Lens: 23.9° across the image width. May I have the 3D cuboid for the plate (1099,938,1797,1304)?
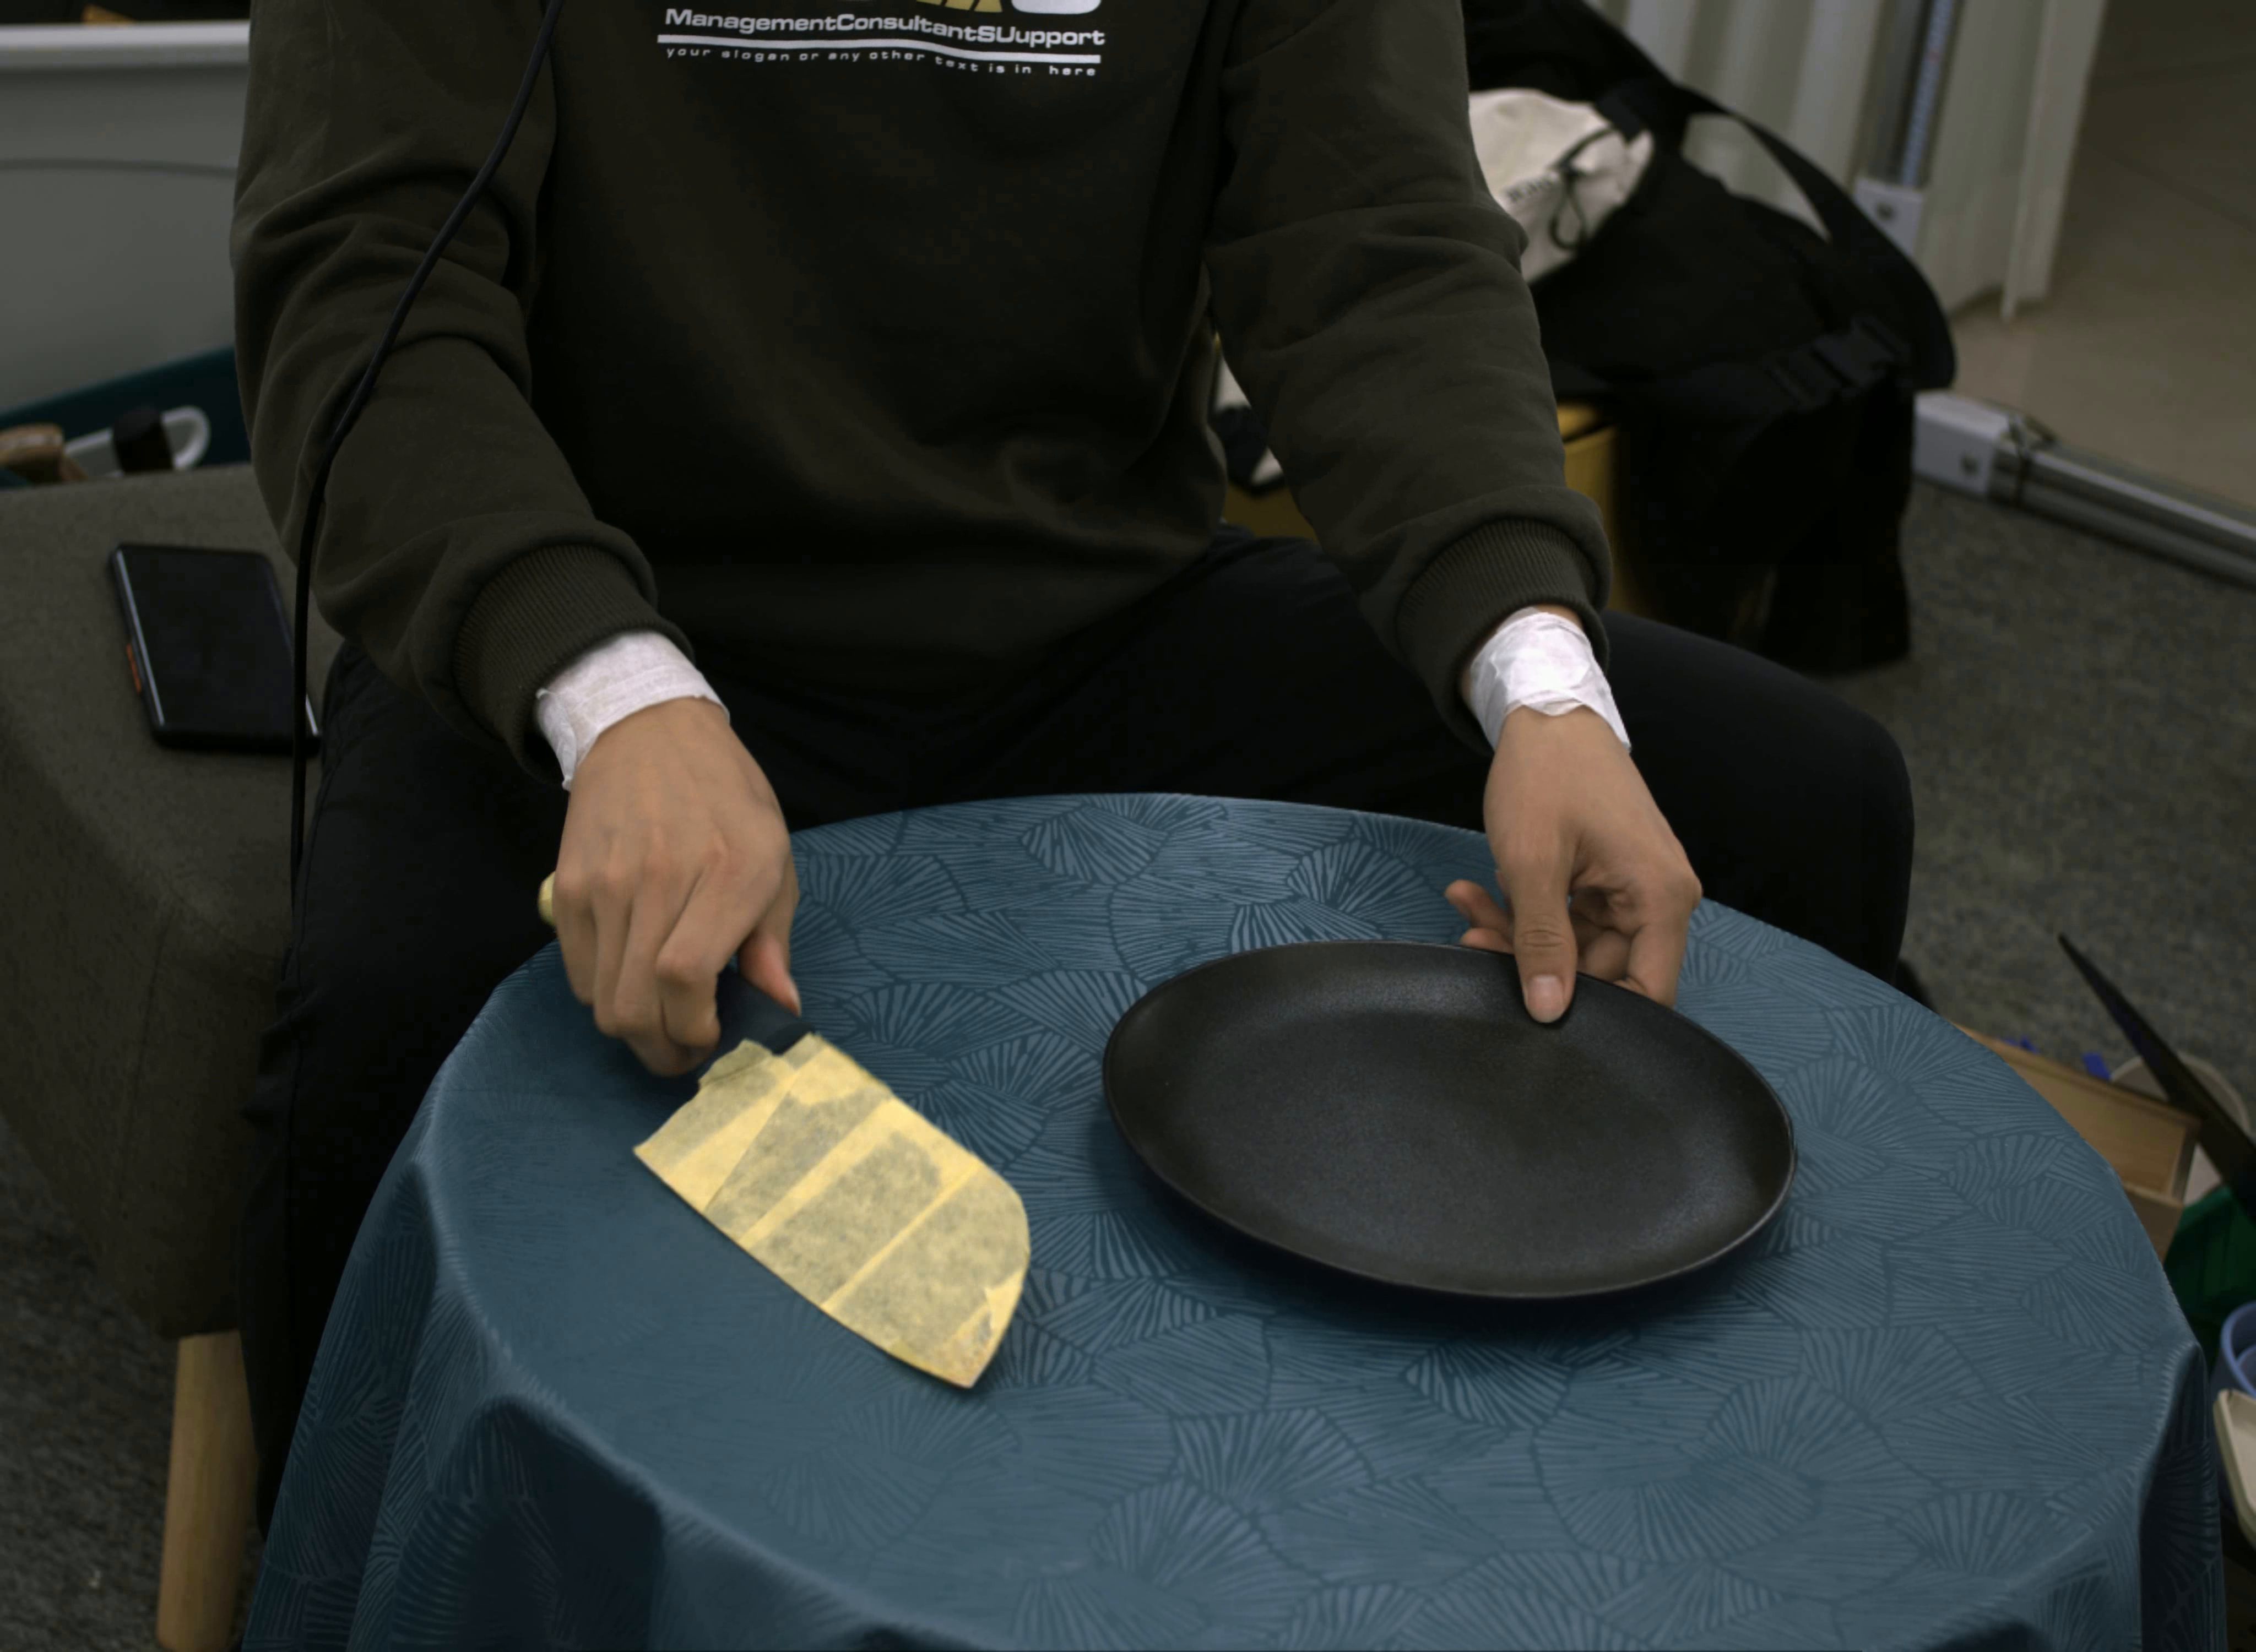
[{"bbox_3d":[0.109,0.106,1.840,0.243,0.023,0.246,5,27,-3],"label":"plate"}]

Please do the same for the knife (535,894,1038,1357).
[{"bbox_3d":[-0.125,0.099,1.783,0.081,0.027,0.292,-36,44,-18],"label":"knife"}]
